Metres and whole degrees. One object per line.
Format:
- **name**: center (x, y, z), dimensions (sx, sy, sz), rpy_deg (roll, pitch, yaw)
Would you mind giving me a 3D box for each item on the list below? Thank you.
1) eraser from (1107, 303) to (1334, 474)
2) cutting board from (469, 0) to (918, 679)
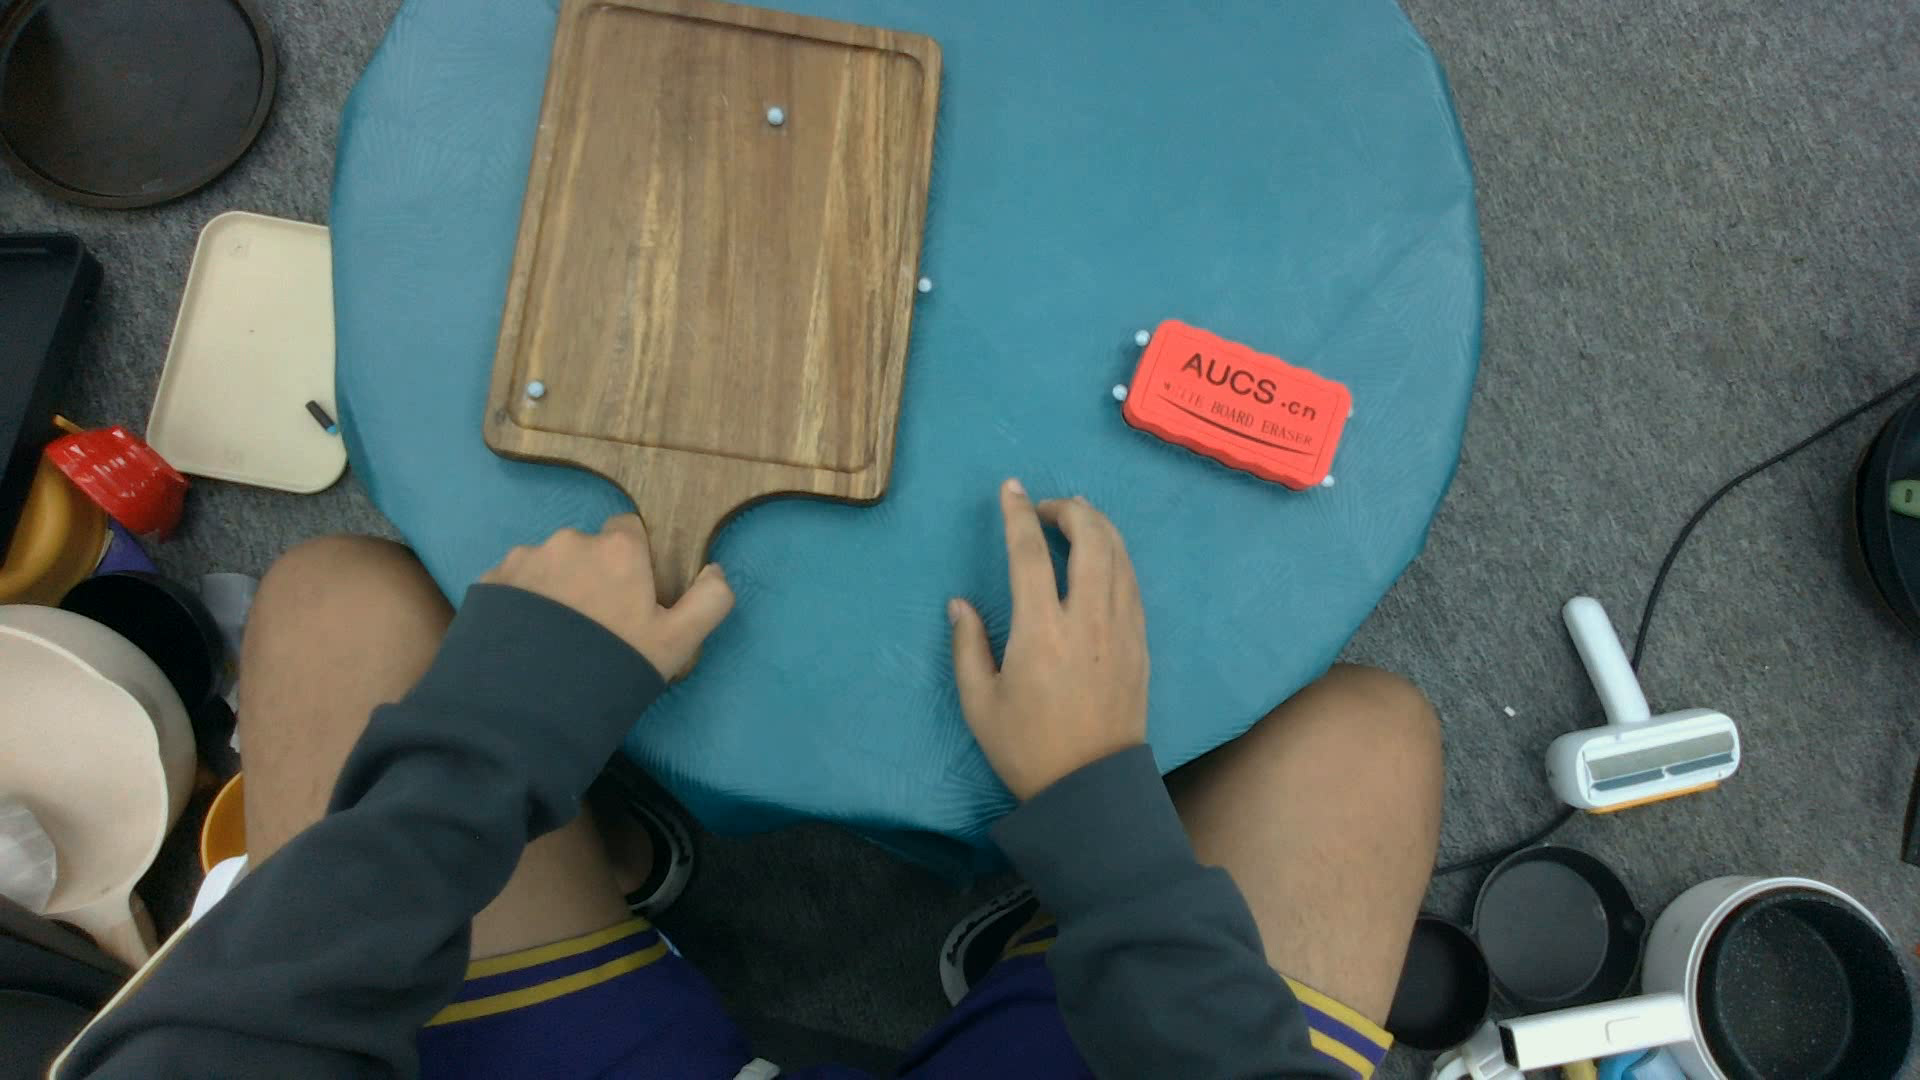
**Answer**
- **eraser**: center (0.134, -0.077, 0.708), dimensions (0.108, 0.023, 0.059), rpy_deg (20, 80, -4)
- **cutting board**: center (-0.133, -0.107, 0.684), dimensions (0.201, 0.023, 0.352), rpy_deg (6, 80, -6)
